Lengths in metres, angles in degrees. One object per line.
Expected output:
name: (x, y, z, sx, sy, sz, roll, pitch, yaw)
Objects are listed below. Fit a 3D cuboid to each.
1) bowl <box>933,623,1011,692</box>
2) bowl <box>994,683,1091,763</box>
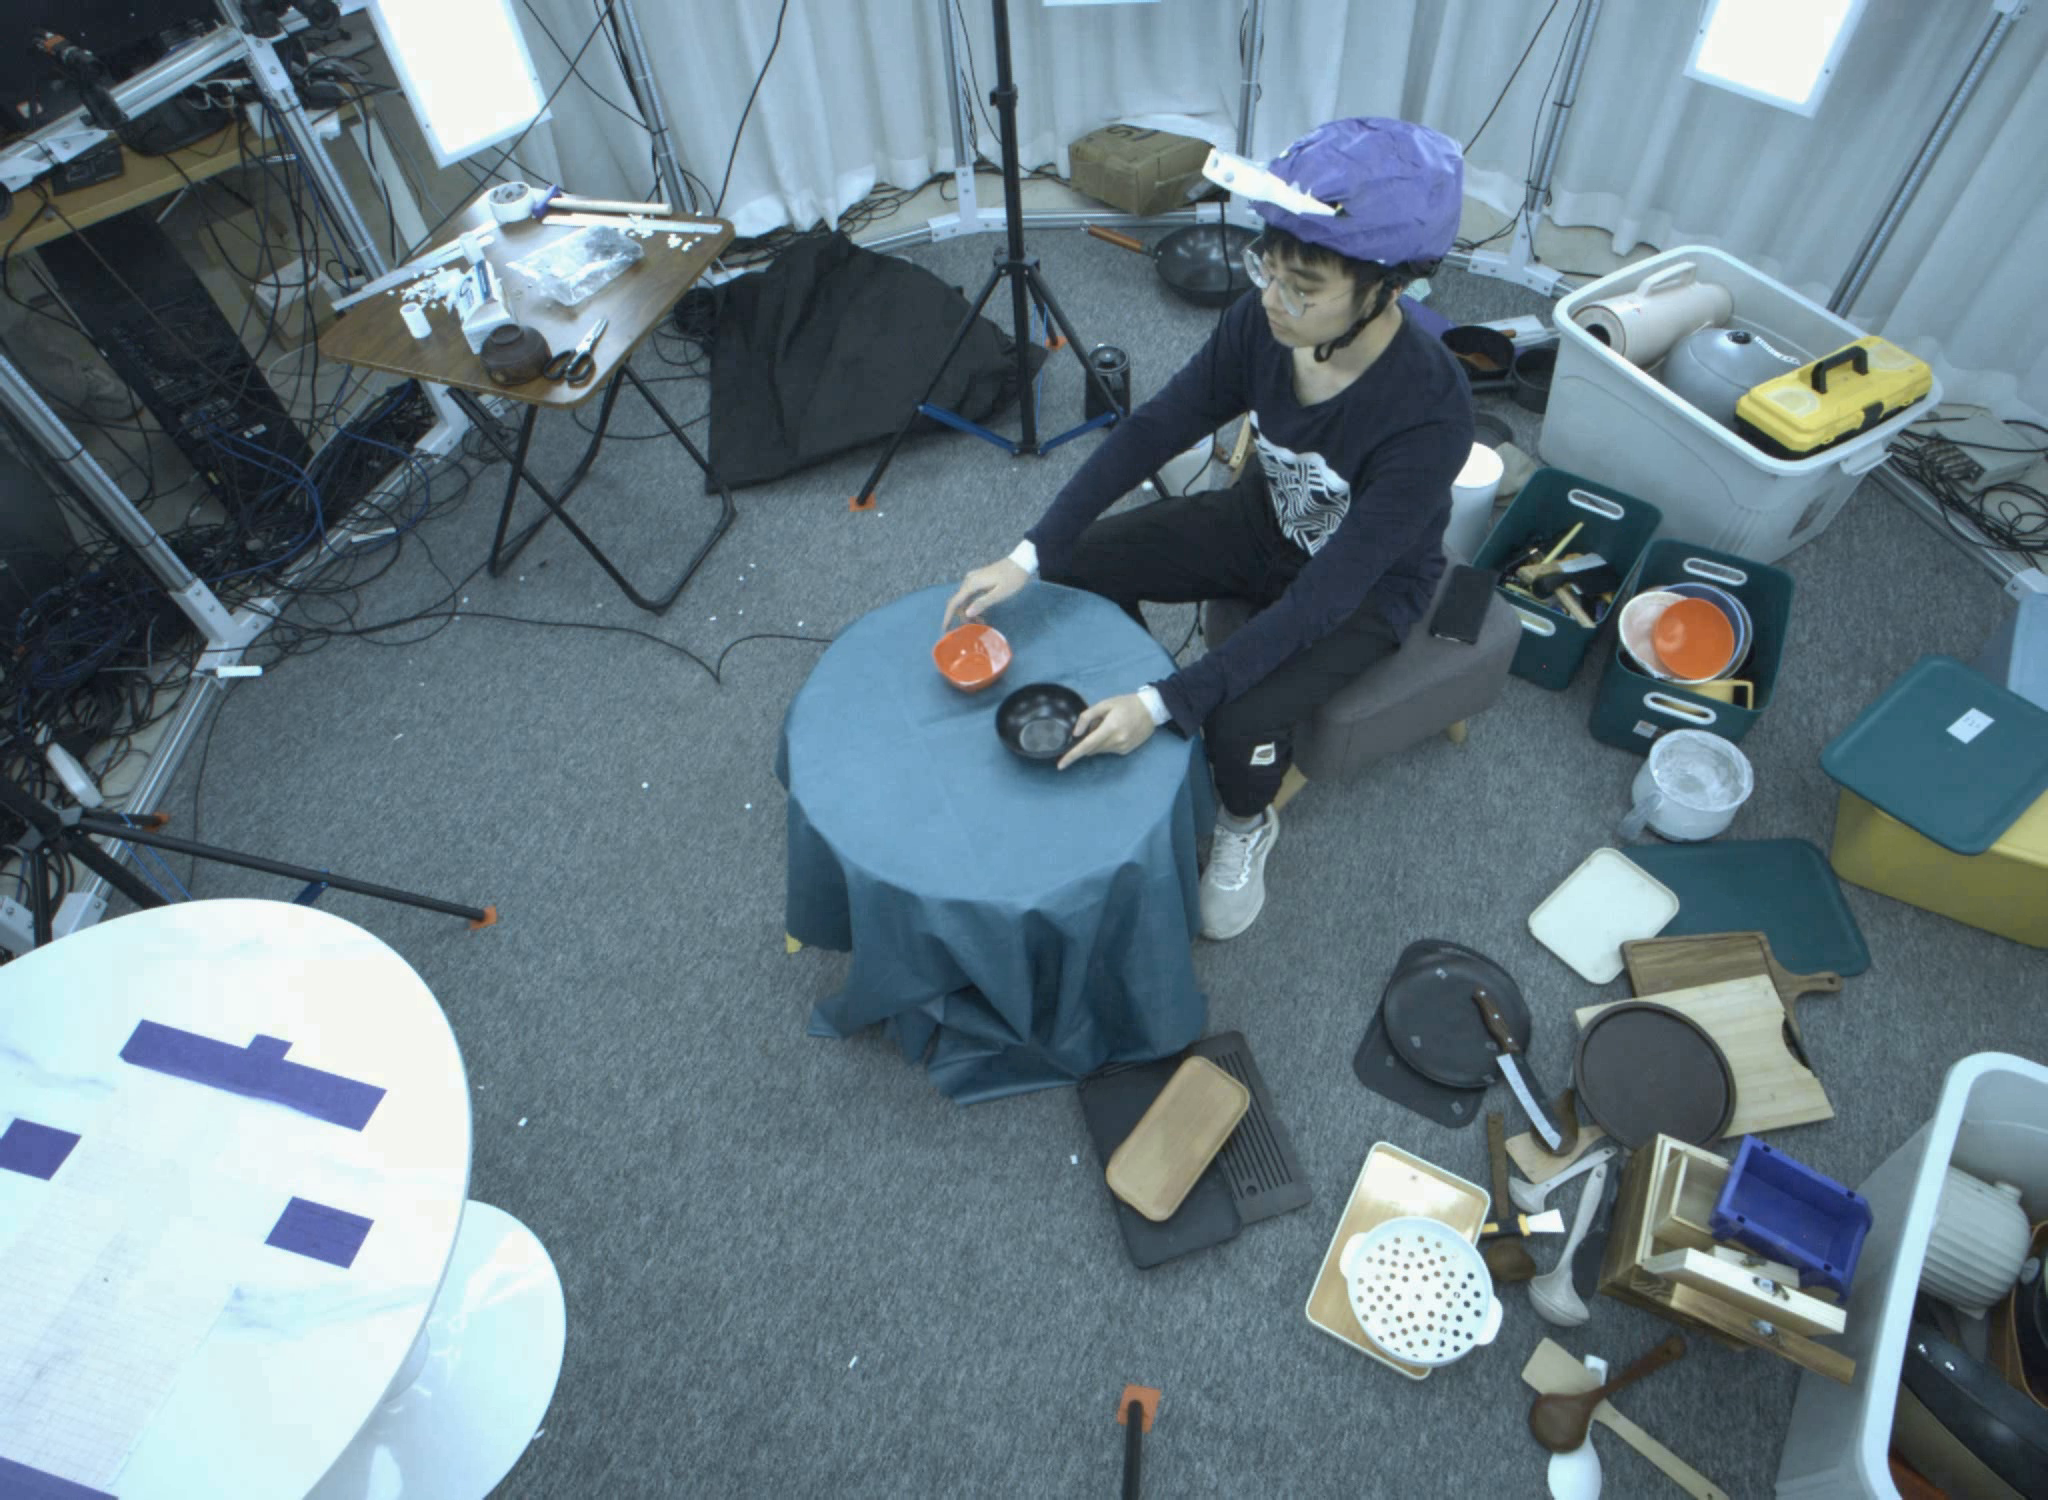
bowl: (-0.077, -0.133, 1.859, 0.118, 0.052, 0.117, -2, 54, 4)
bowl: (0.027, -0.030, 1.788, 0.140, 0.050, 0.138, 1, 53, -1)
